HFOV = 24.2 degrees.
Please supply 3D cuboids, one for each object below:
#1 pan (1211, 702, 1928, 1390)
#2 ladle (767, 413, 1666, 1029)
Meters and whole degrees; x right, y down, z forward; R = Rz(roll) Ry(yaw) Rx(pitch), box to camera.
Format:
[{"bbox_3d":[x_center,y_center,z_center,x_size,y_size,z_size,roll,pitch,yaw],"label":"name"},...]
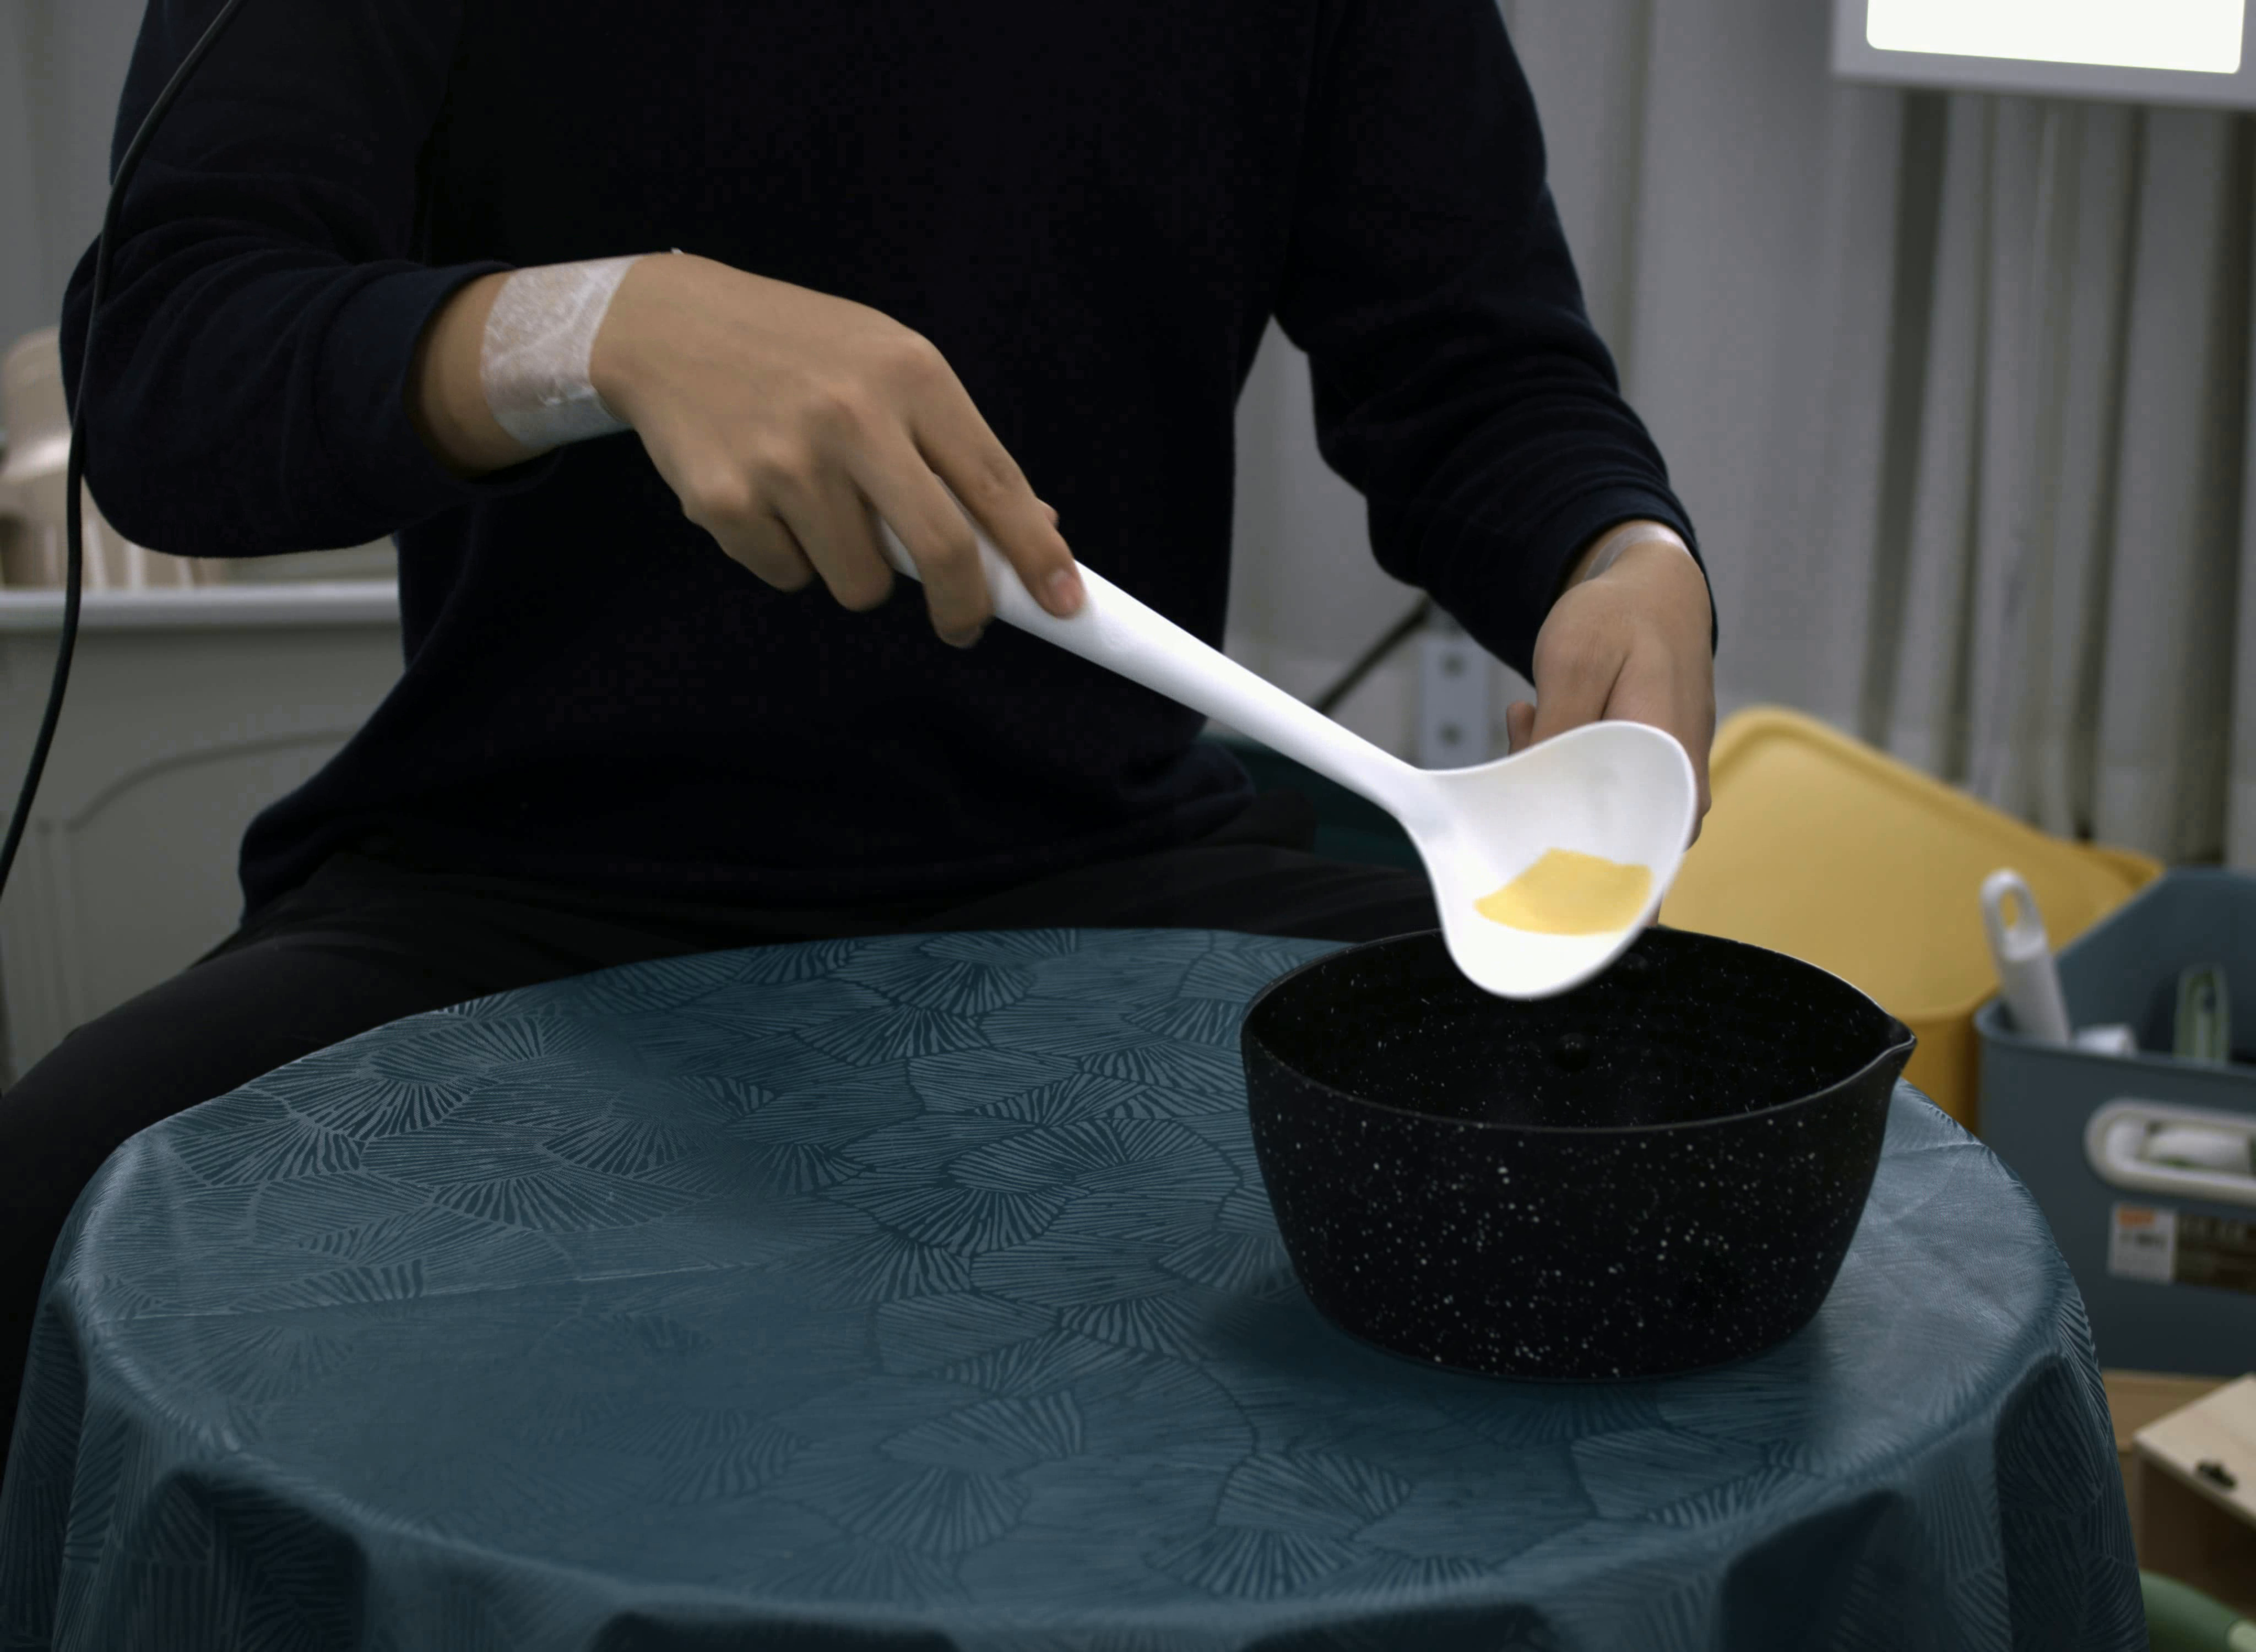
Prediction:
[{"bbox_3d":[0.133,0.061,1.599,0.206,0.109,0.341,1,18,4],"label":"pan"},{"bbox_3d":[0.021,-0.040,1.518,0.291,0.090,0.070,30,-2,9],"label":"ladle"}]
